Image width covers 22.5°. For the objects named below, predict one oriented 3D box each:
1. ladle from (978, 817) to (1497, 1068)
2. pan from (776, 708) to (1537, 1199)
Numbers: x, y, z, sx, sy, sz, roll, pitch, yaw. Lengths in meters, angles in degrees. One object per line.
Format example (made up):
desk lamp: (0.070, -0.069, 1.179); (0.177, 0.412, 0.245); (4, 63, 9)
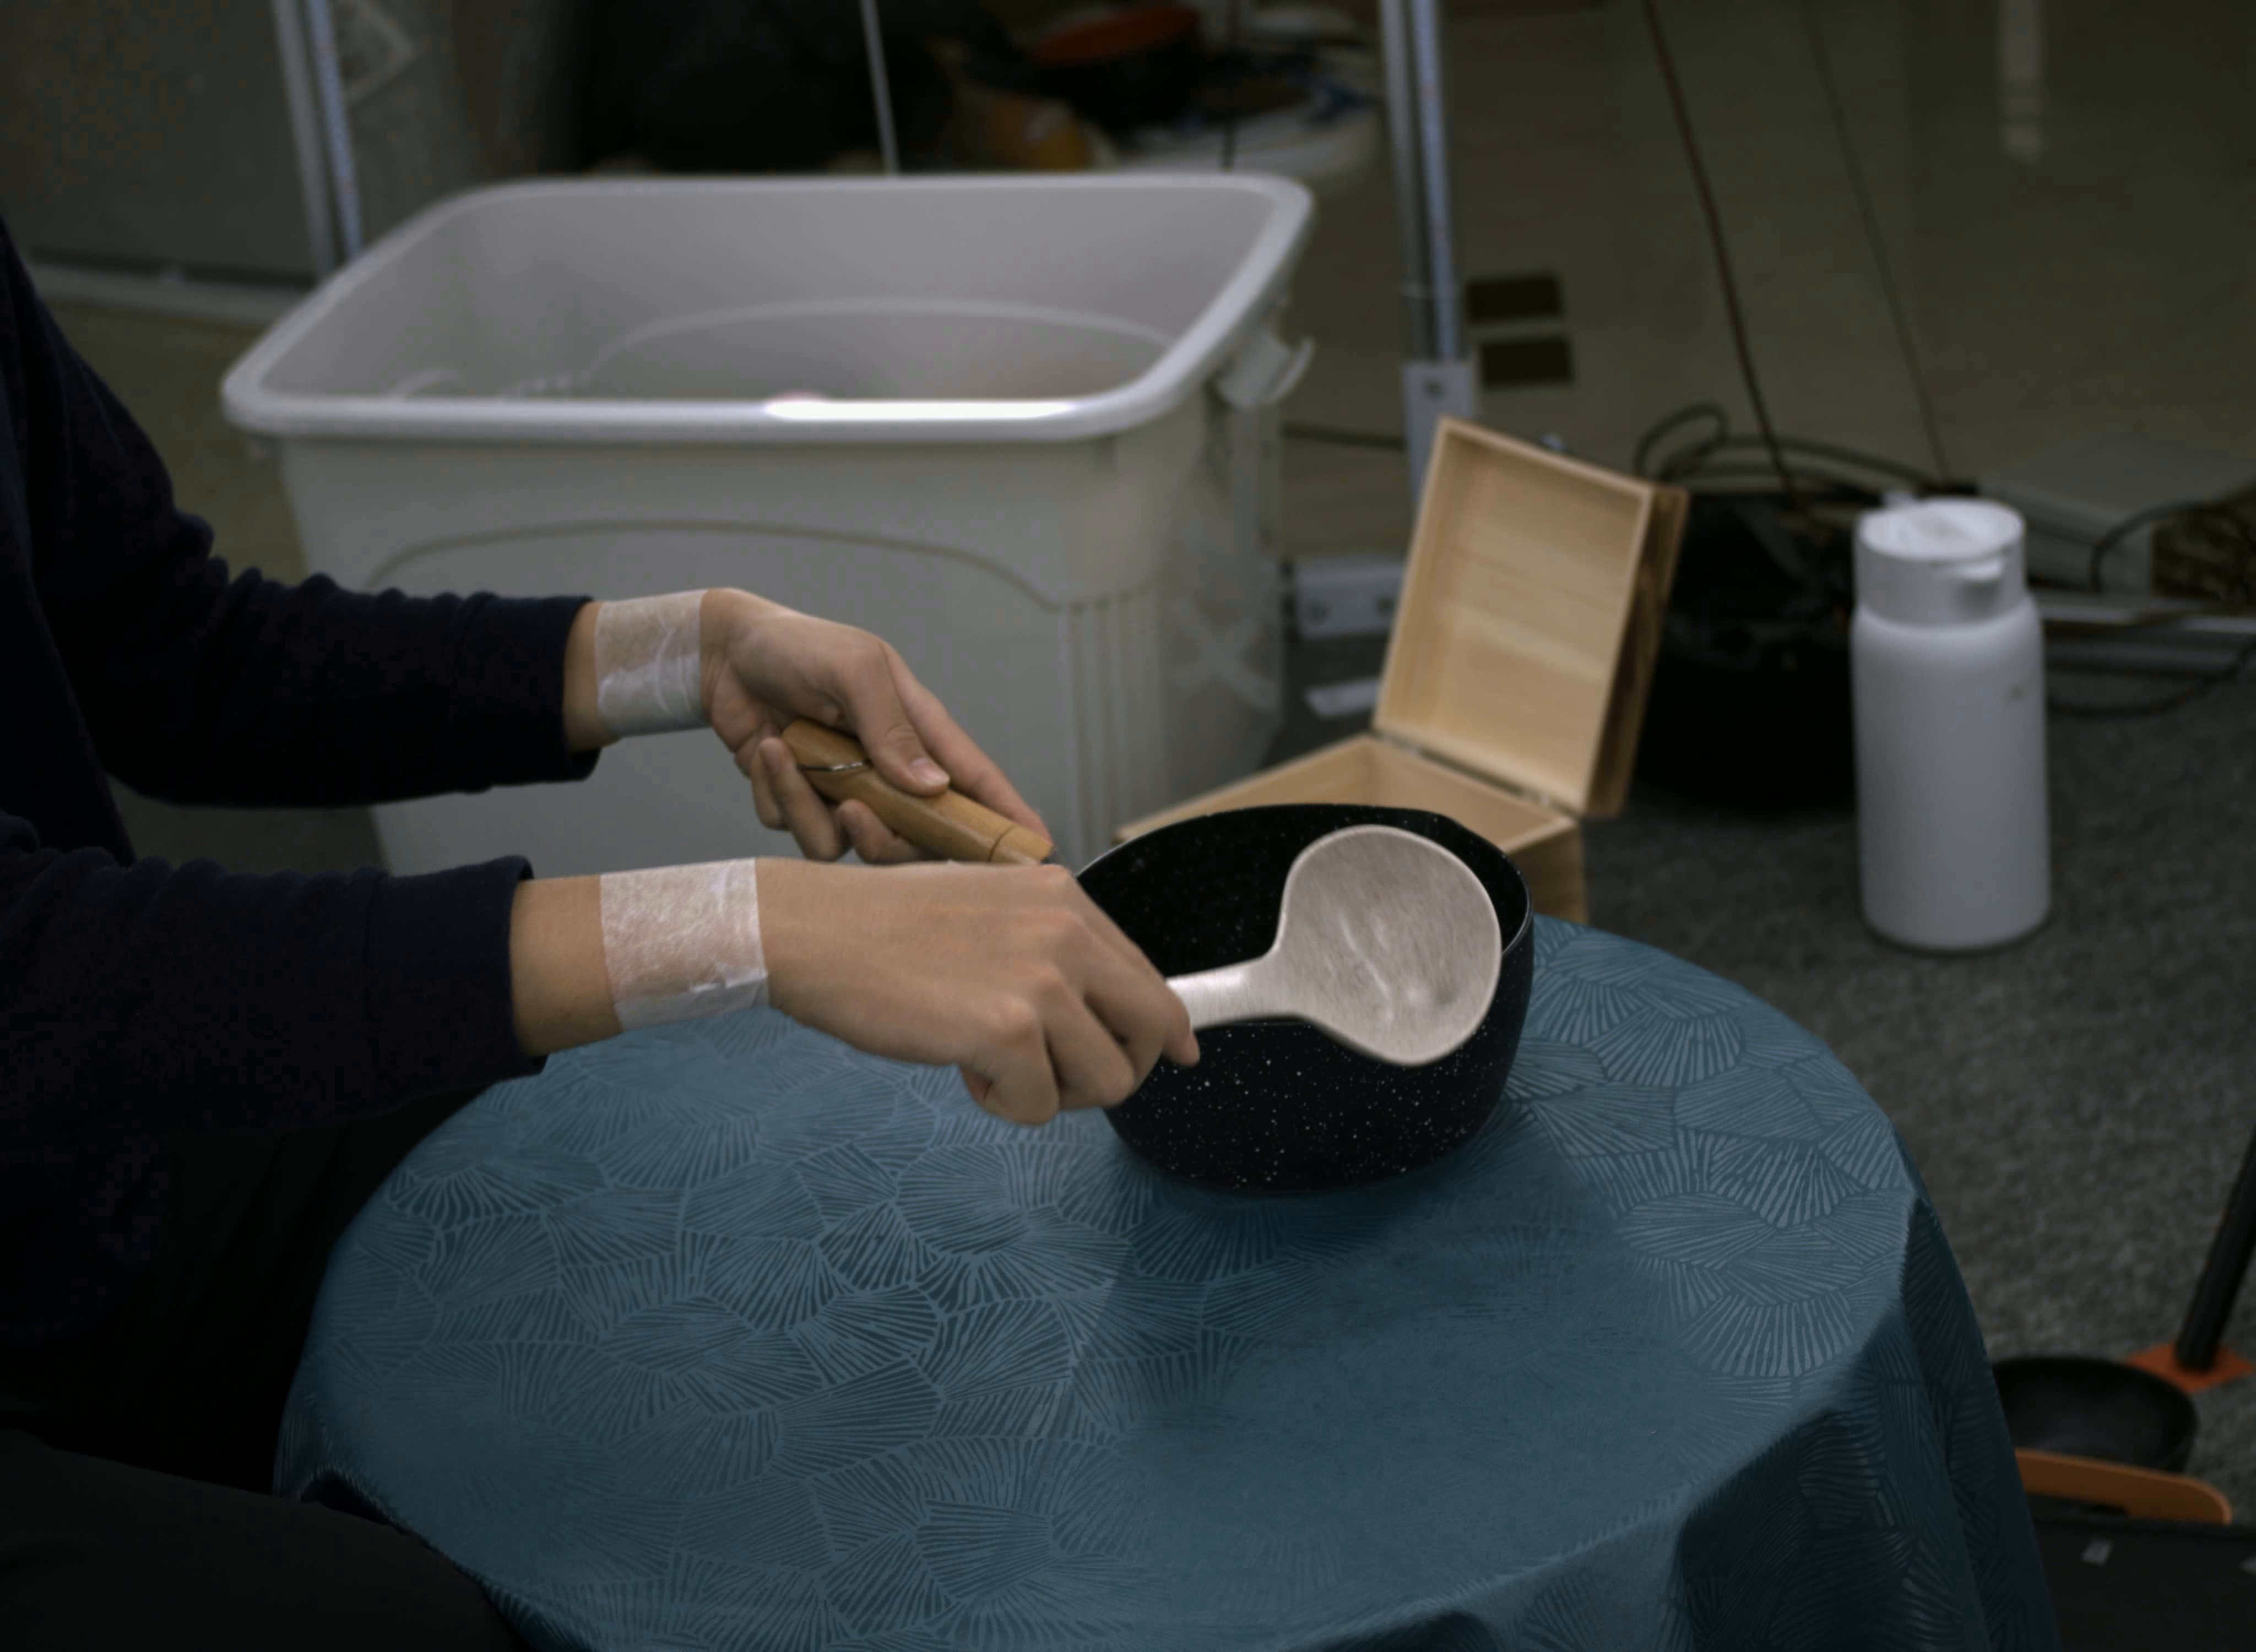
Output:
ladle: (0.041, 0.047, 1.937); (0.070, 0.089, 0.274); (-28, -9, 26)
pan: (0.000, 0.041, 2.210); (0.340, 0.110, 0.205); (16, 34, 32)
